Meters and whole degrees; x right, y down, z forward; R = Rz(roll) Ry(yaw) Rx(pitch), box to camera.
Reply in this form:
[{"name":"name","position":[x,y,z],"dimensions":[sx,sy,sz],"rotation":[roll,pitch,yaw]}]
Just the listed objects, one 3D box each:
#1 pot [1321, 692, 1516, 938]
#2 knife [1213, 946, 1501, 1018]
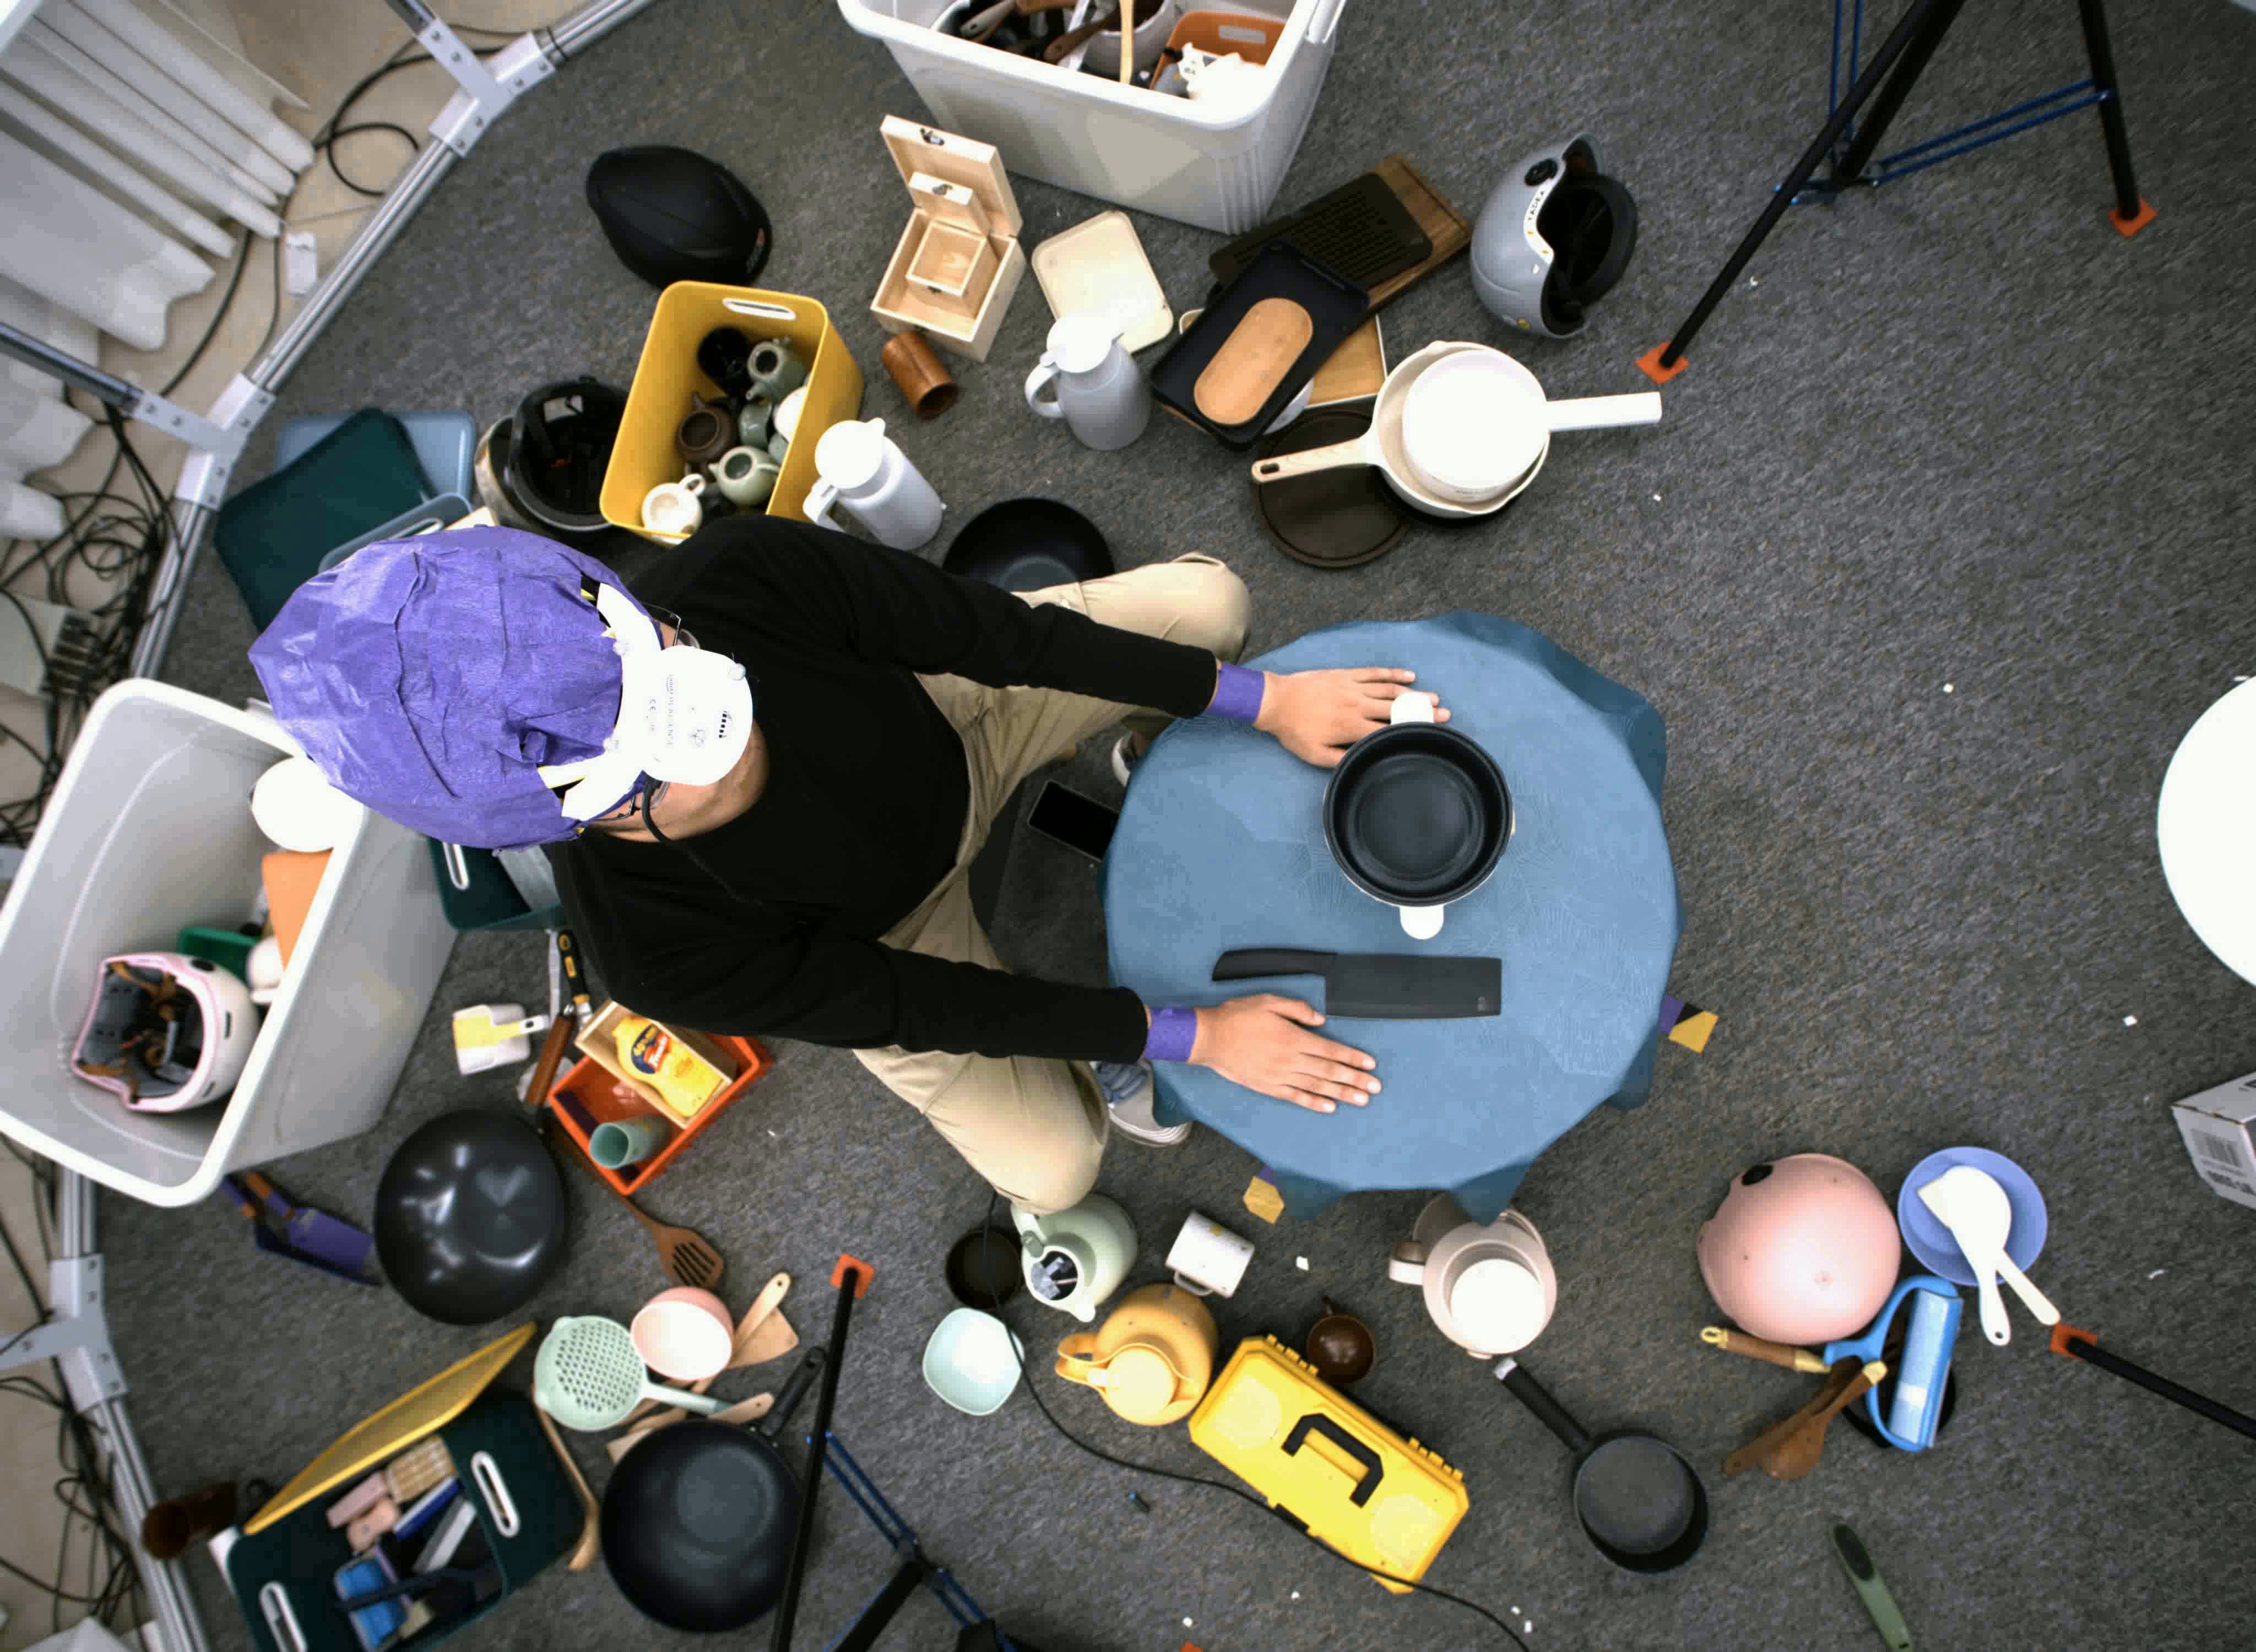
[{"name":"pot","position":[0.295,-0.008,1.390],"dimensions":[0.191,0.142,0.239],"rotation":[-3,87,14]},{"name":"knife","position":[0.240,0.161,1.456],"dimensions":[0.303,0.021,0.081],"rotation":[5,89,9]}]
